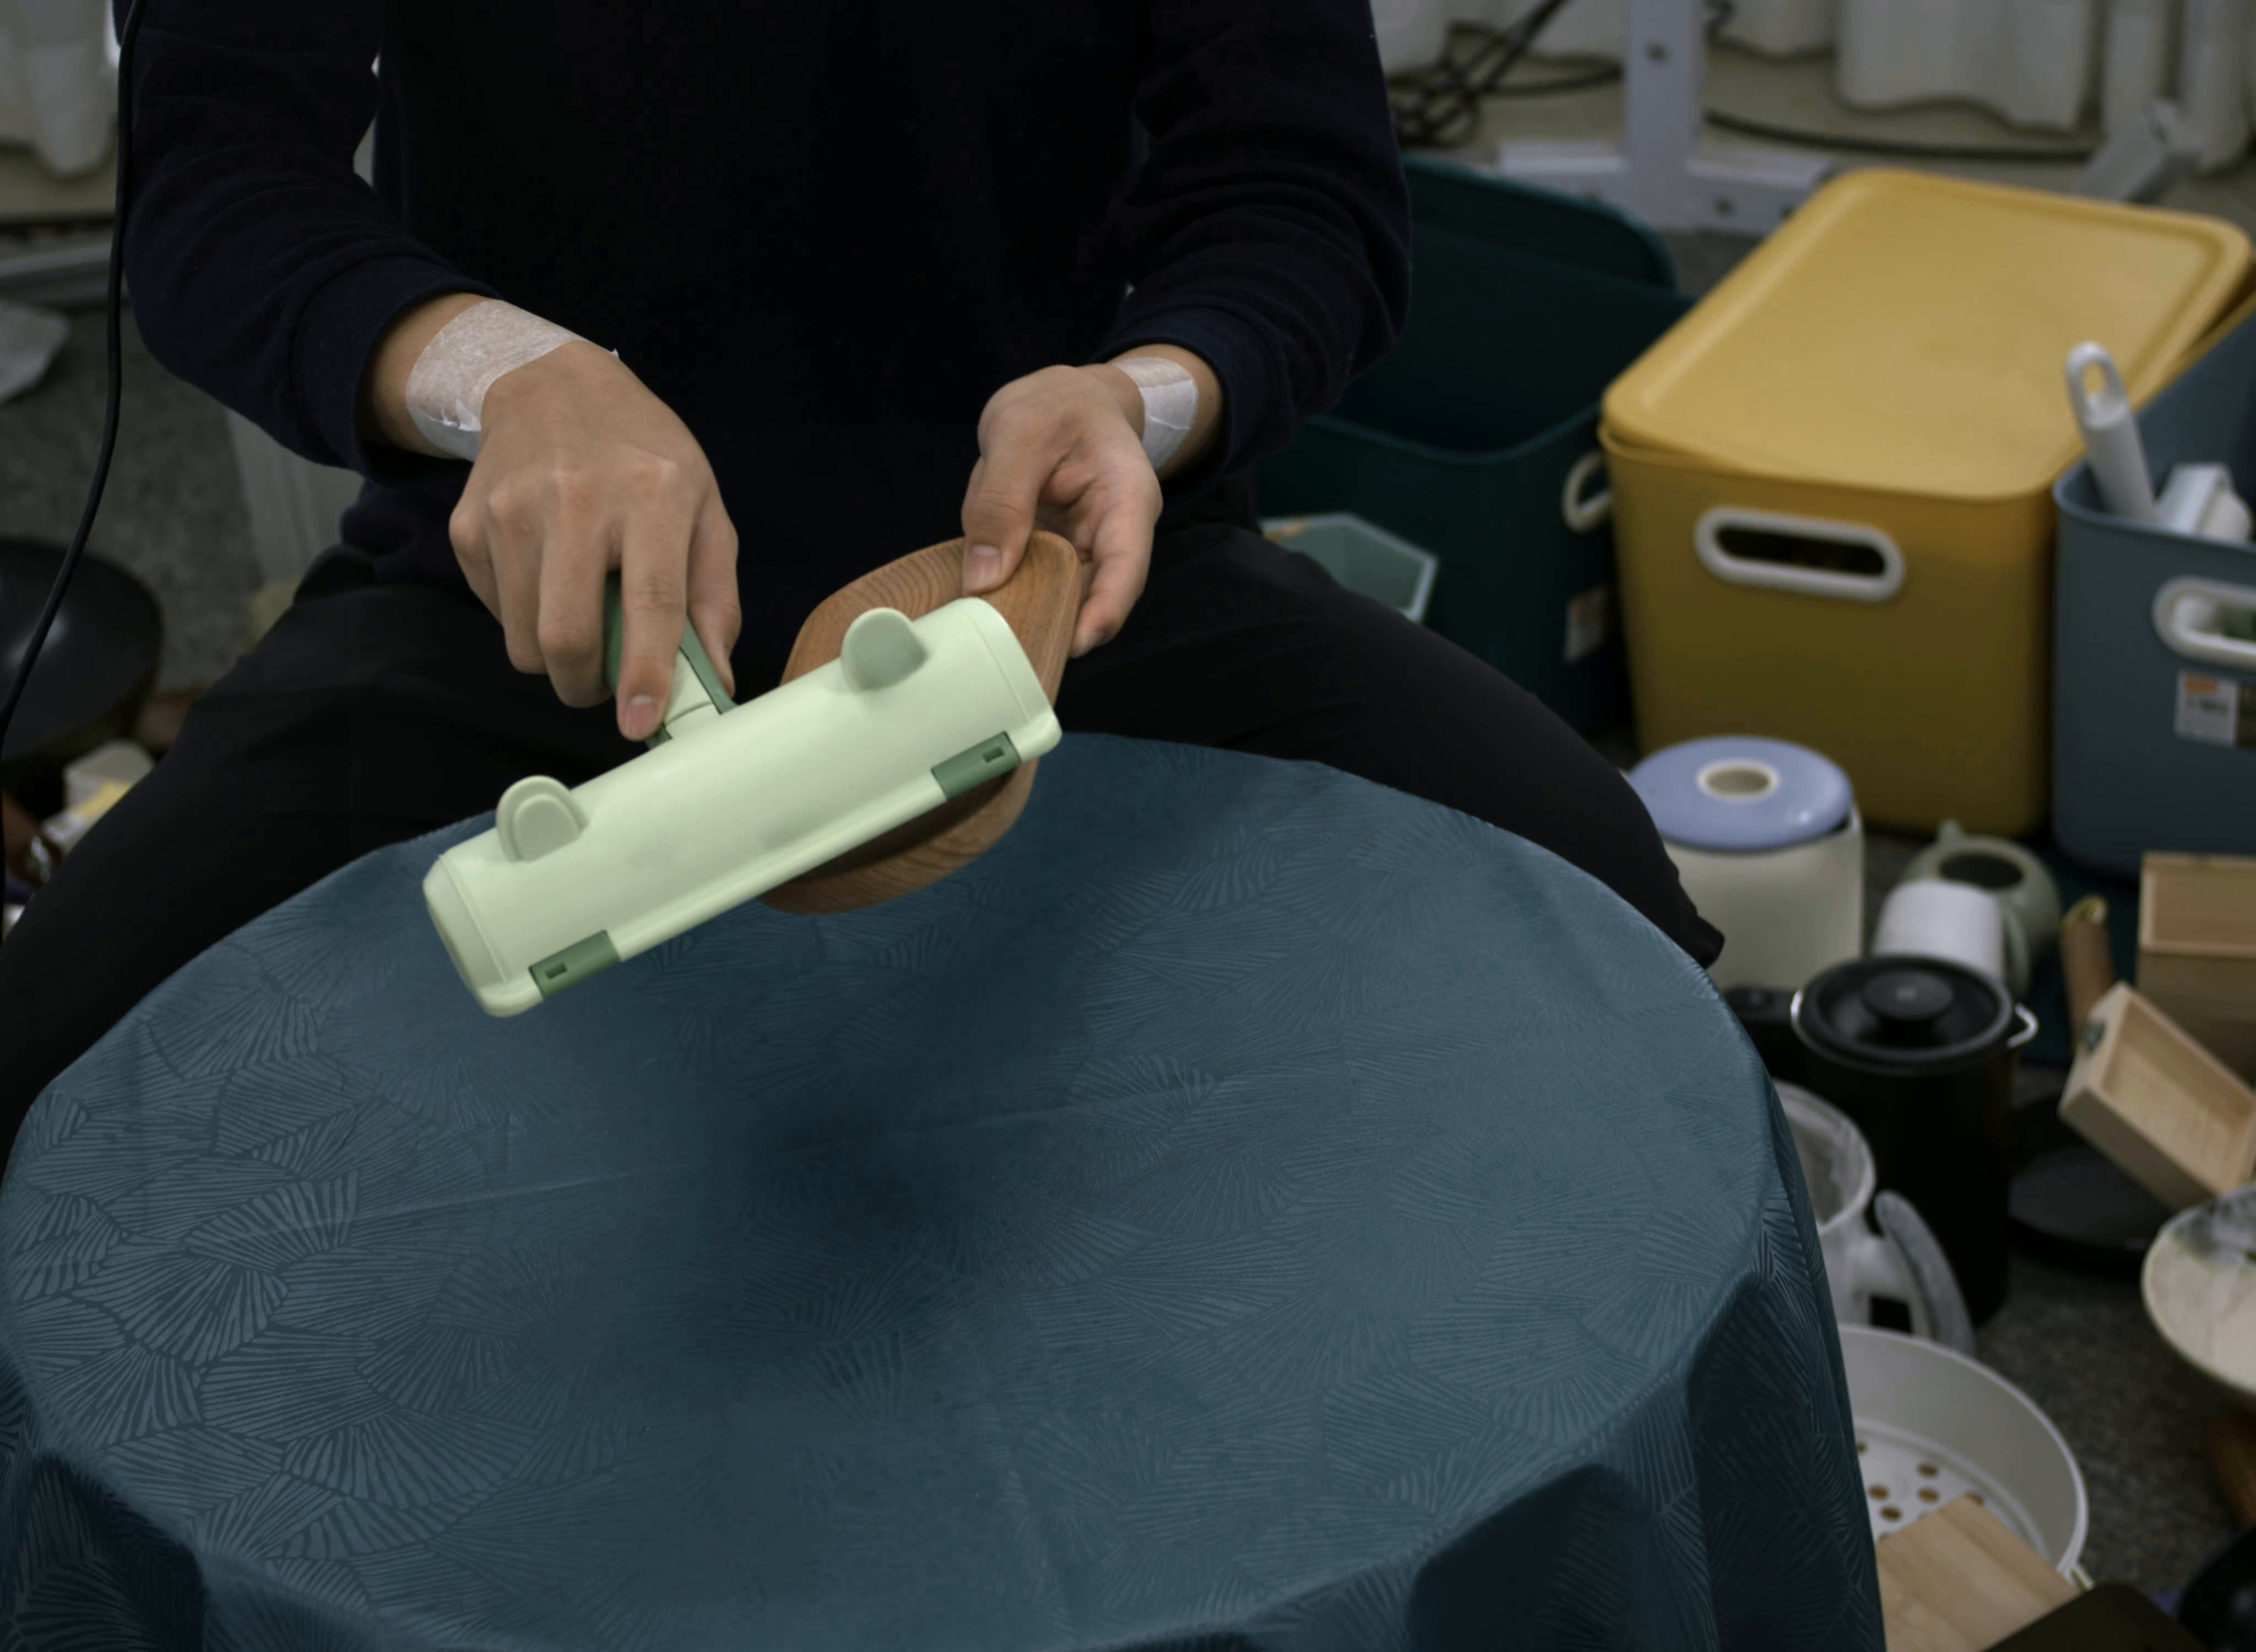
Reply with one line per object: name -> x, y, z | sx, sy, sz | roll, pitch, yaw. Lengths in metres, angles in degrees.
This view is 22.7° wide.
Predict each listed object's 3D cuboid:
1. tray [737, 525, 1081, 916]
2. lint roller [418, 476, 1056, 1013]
tray -> -0.070, -0.036, 1.809 | 0.101, 0.020, 0.235 | -16, 27, 15
lint roller -> -0.146, -0.054, 1.734 | 0.199, 0.081, 0.185 | -27, 62, -11
